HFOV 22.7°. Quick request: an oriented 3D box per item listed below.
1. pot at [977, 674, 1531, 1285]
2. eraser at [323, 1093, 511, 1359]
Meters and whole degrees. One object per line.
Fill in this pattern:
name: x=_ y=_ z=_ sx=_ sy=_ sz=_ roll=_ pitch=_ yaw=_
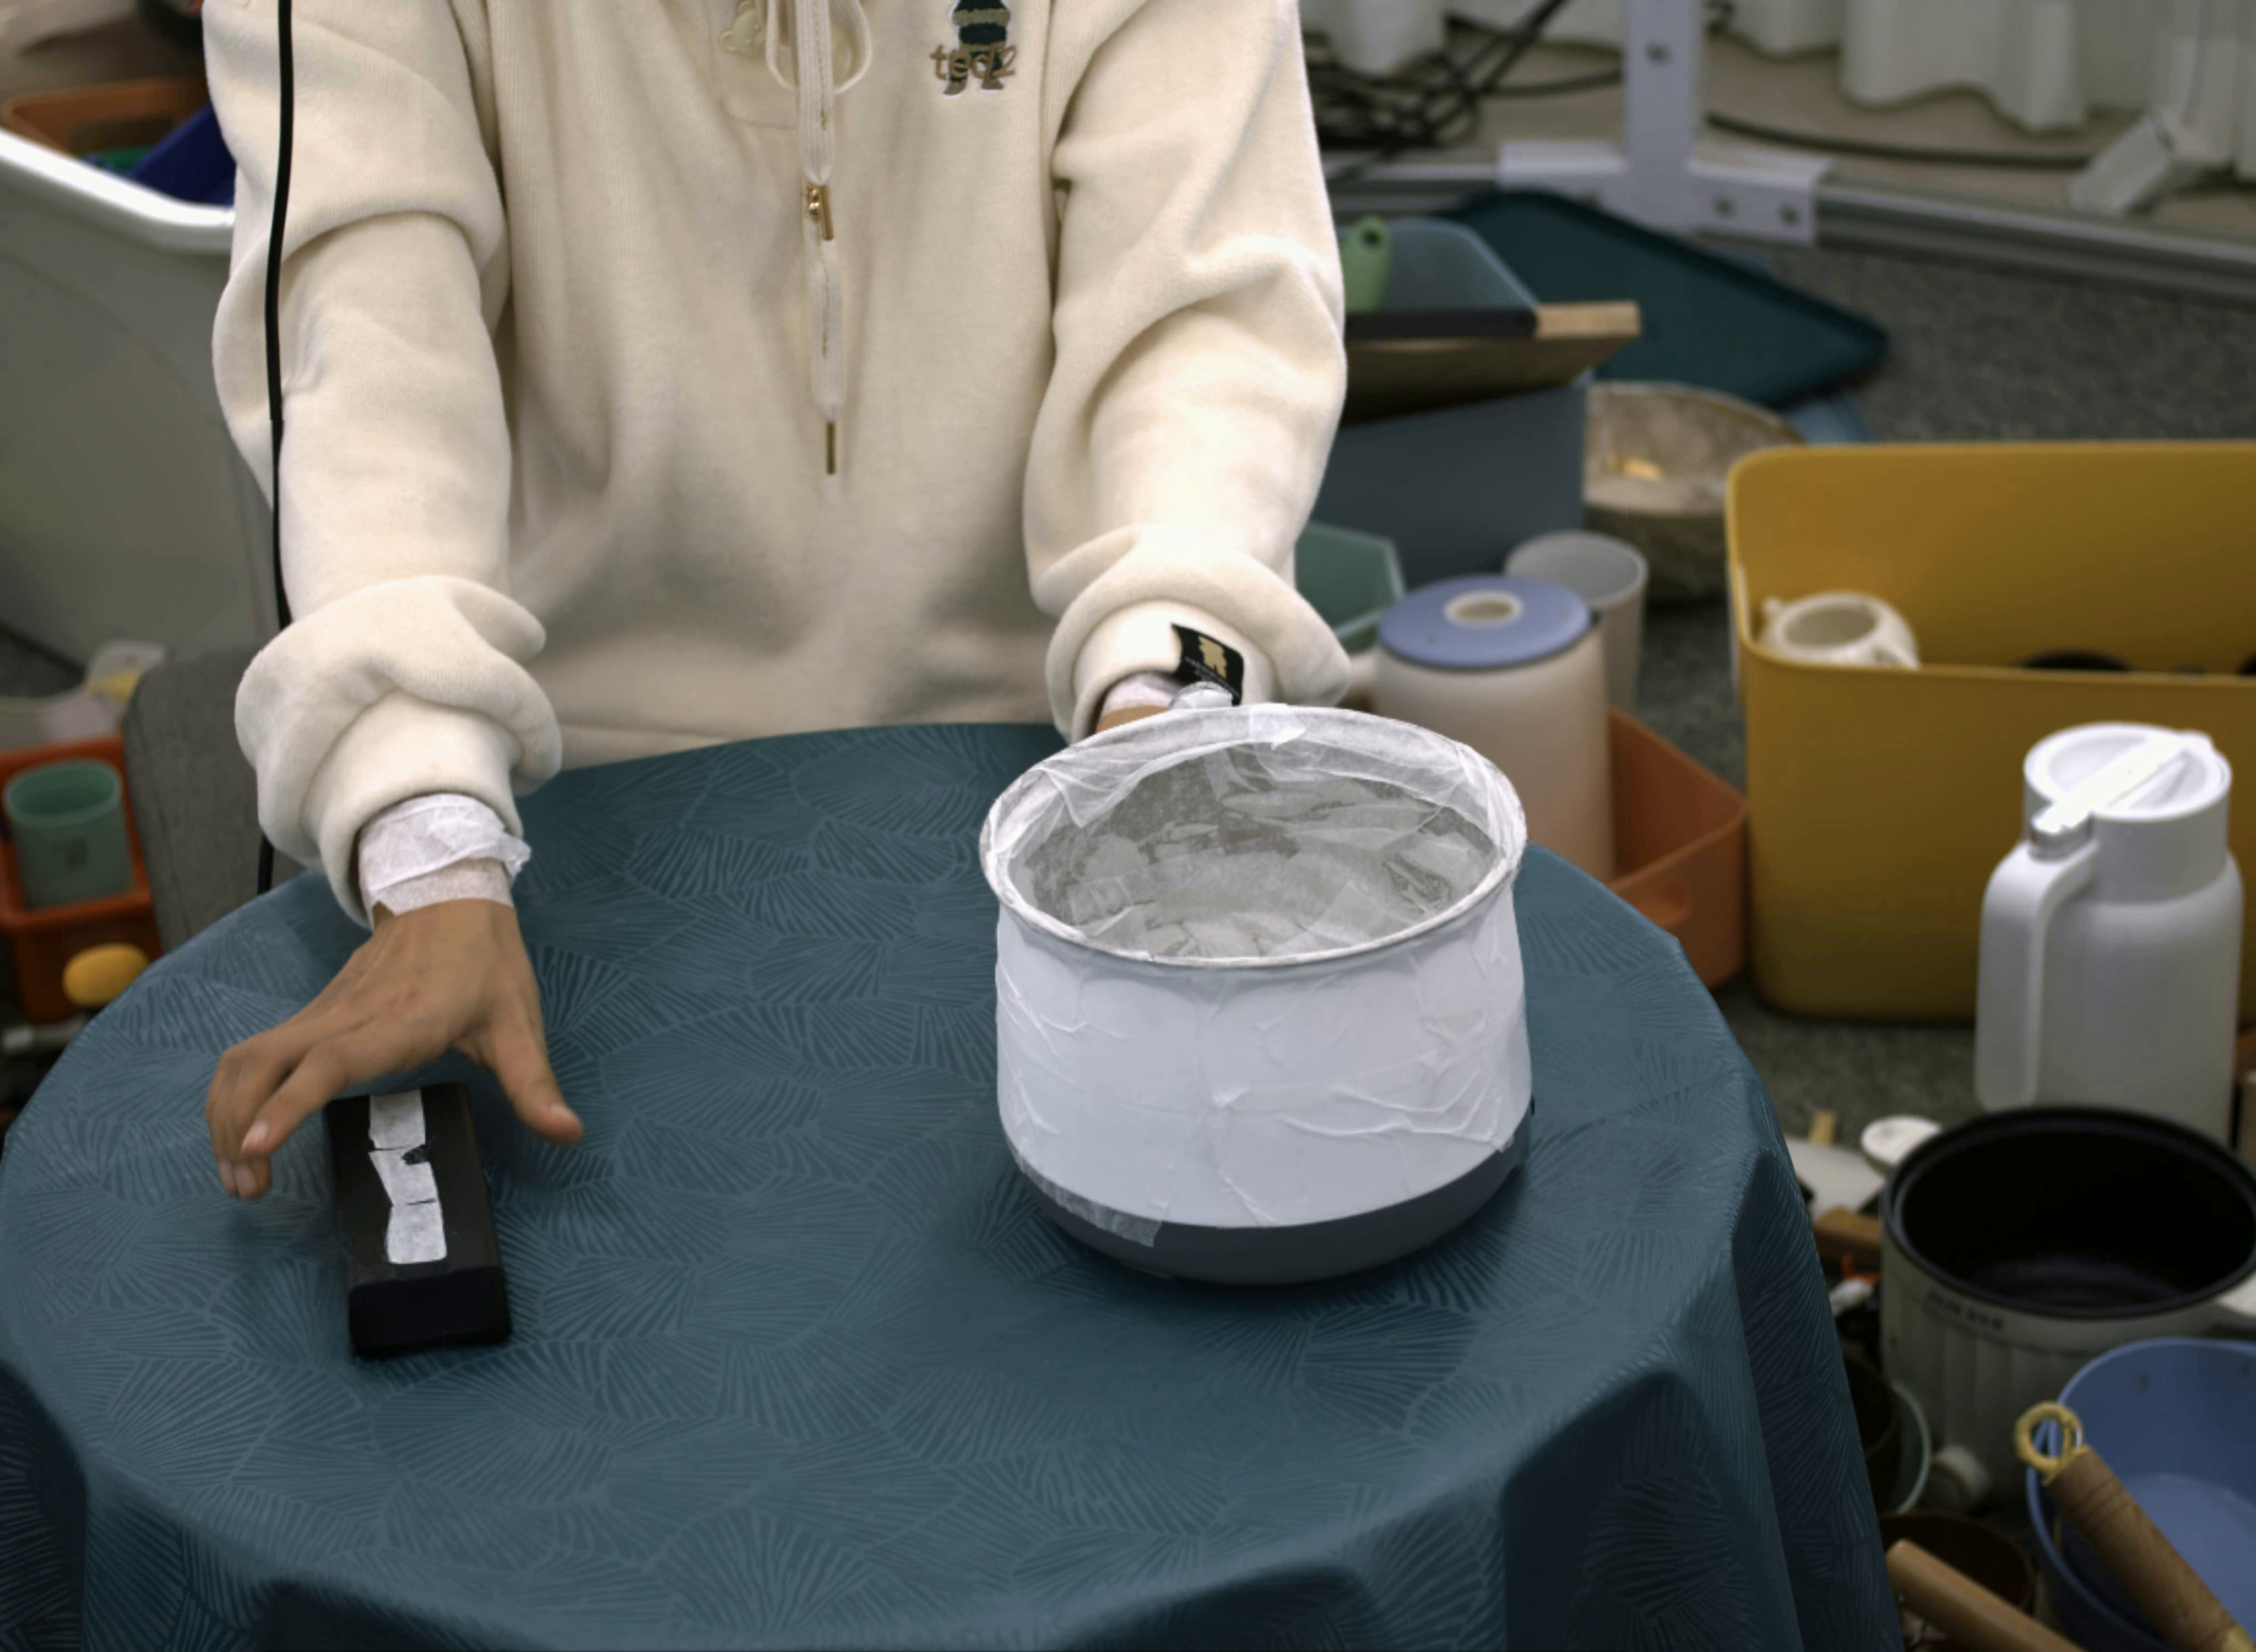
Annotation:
pot: x=0.038 y=0.043 z=1.860 sx=0.178 sy=0.135 sz=0.236 roll=-7 pitch=28 yaw=-8
eraser: x=-0.233 y=0.131 z=1.838 sx=0.053 sy=0.030 sz=0.127 roll=-7 pitch=26 yaw=-9
